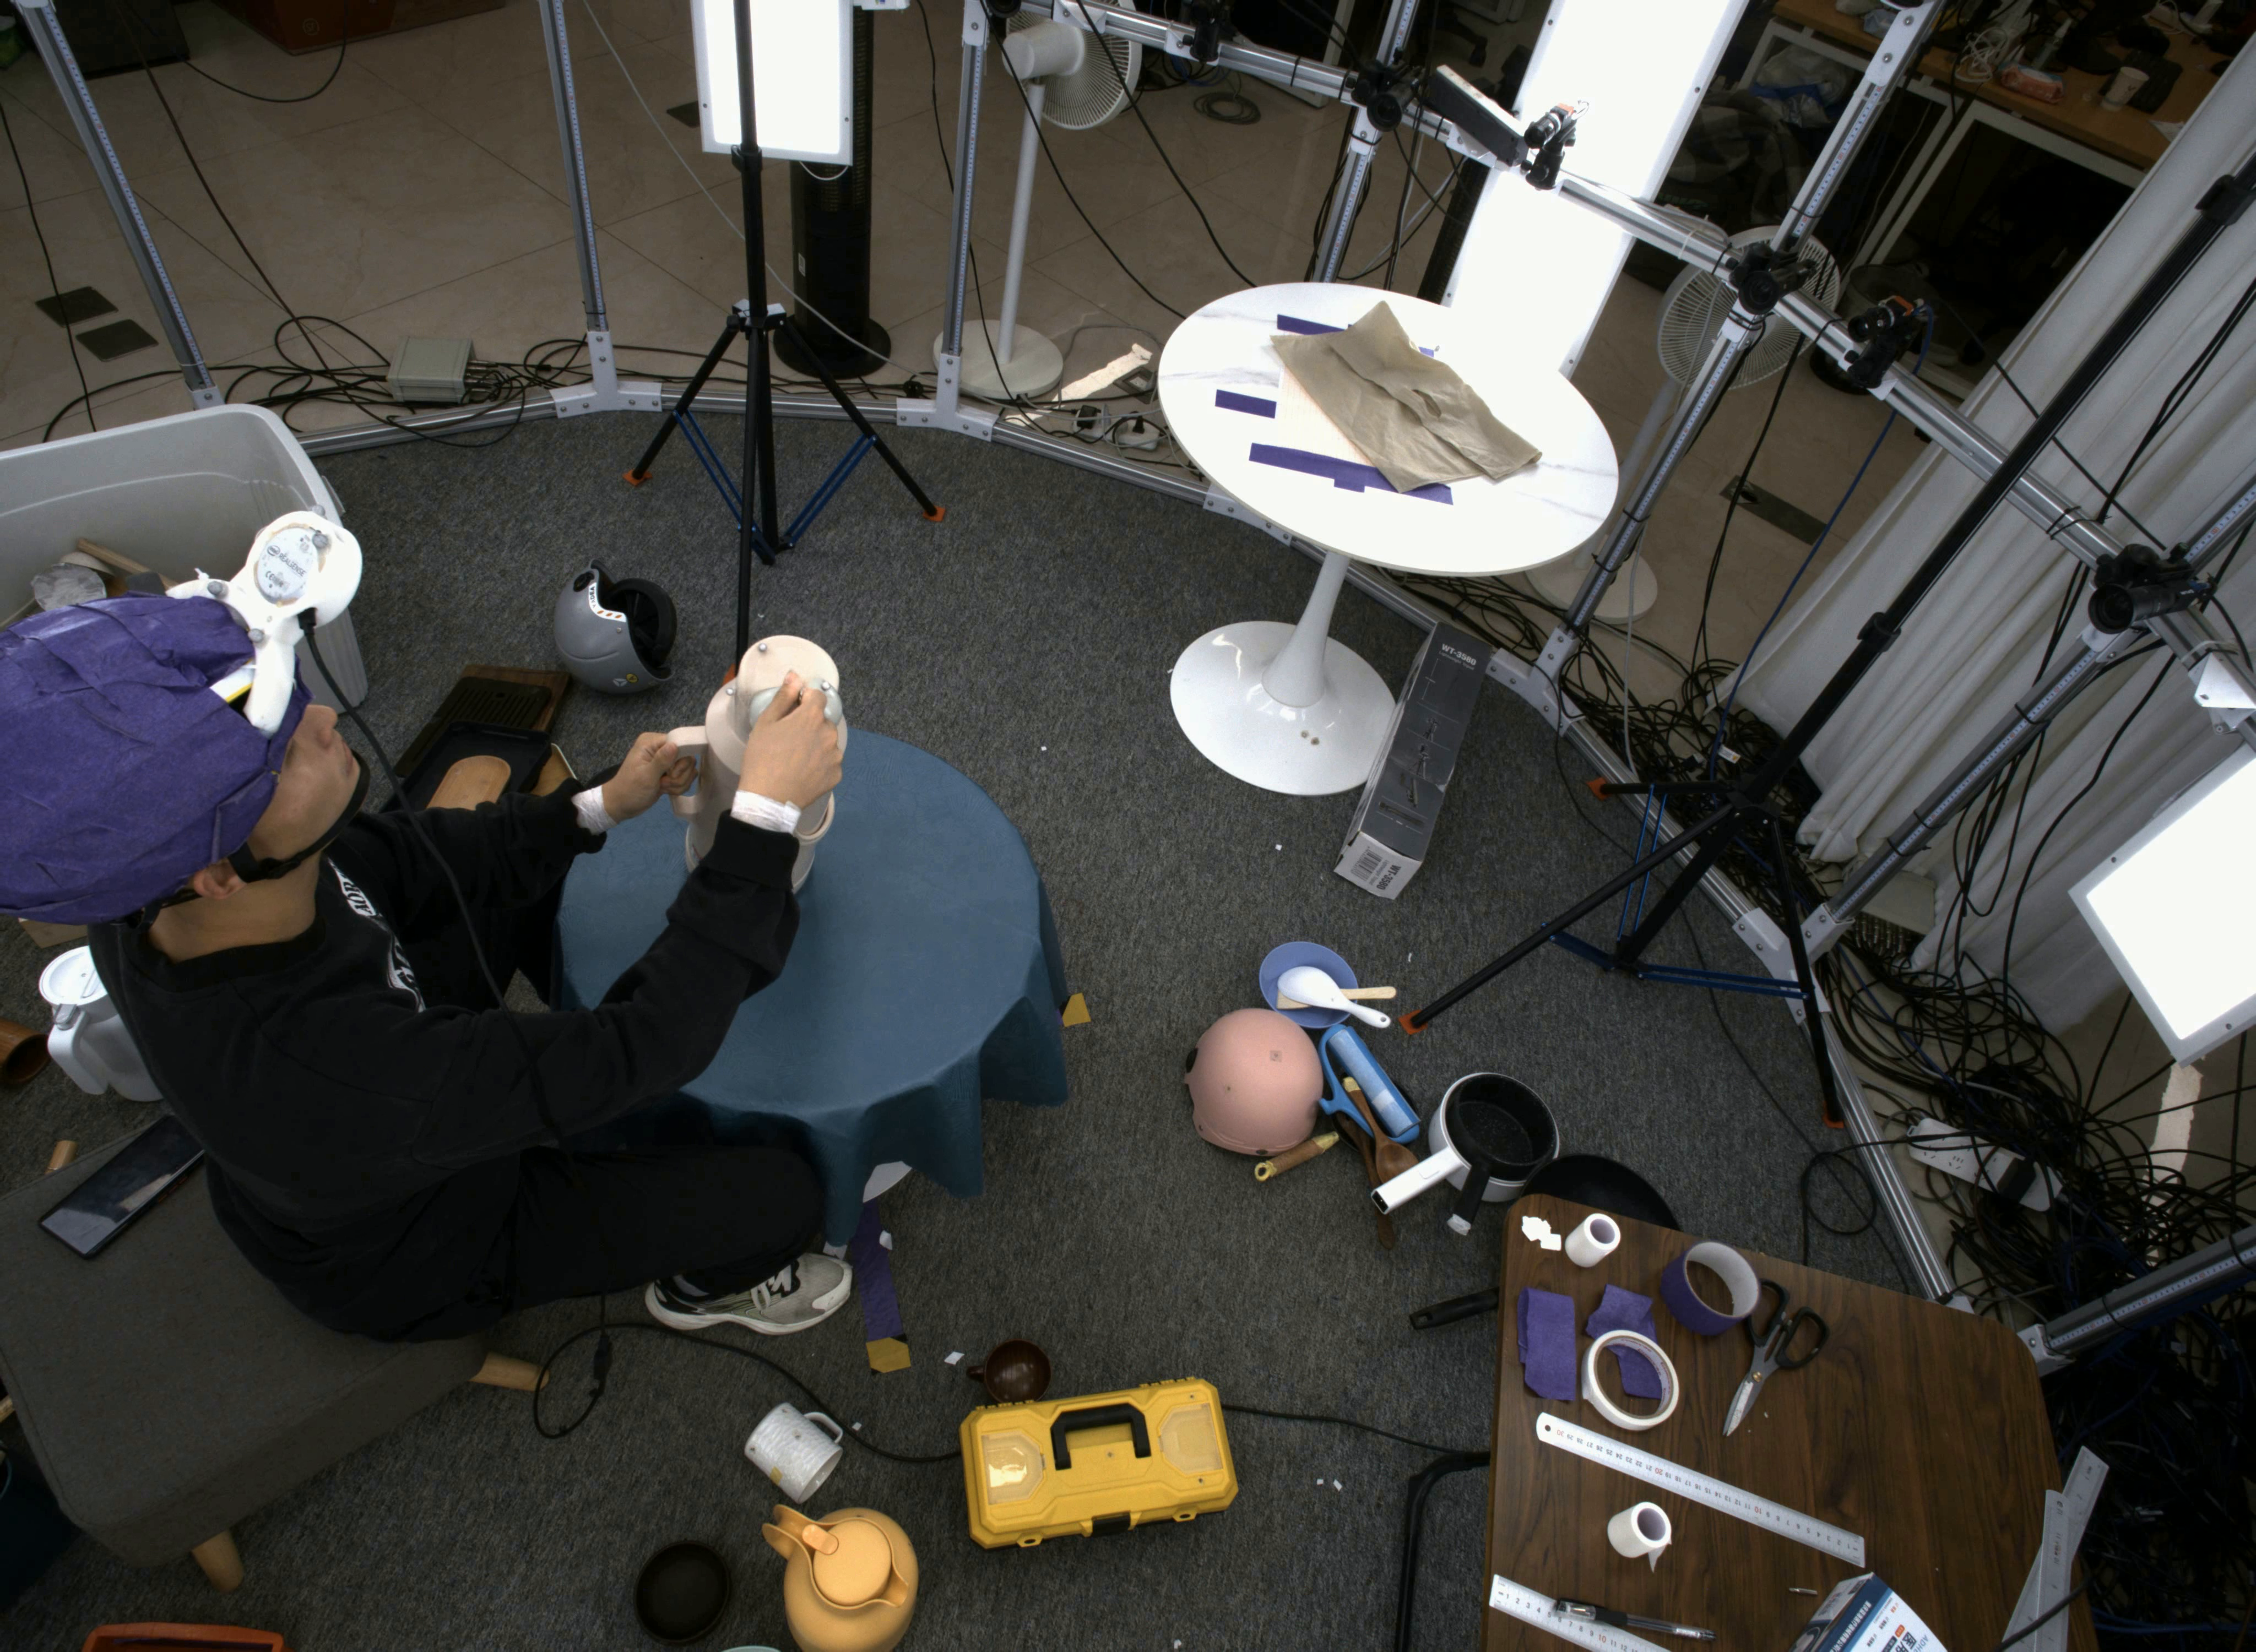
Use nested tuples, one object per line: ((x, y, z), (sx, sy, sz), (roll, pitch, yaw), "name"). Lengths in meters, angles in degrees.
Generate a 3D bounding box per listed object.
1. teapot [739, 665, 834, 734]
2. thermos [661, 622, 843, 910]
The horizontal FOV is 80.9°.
((-0.332, -0.124, 1.261), (0.092, 0.125, 0.061), (-10, 96, -23), "teapot")
((-0.436, -0.066, 1.494), (0.209, 0.409, 0.172), (-8, 64, -27), "thermos")
